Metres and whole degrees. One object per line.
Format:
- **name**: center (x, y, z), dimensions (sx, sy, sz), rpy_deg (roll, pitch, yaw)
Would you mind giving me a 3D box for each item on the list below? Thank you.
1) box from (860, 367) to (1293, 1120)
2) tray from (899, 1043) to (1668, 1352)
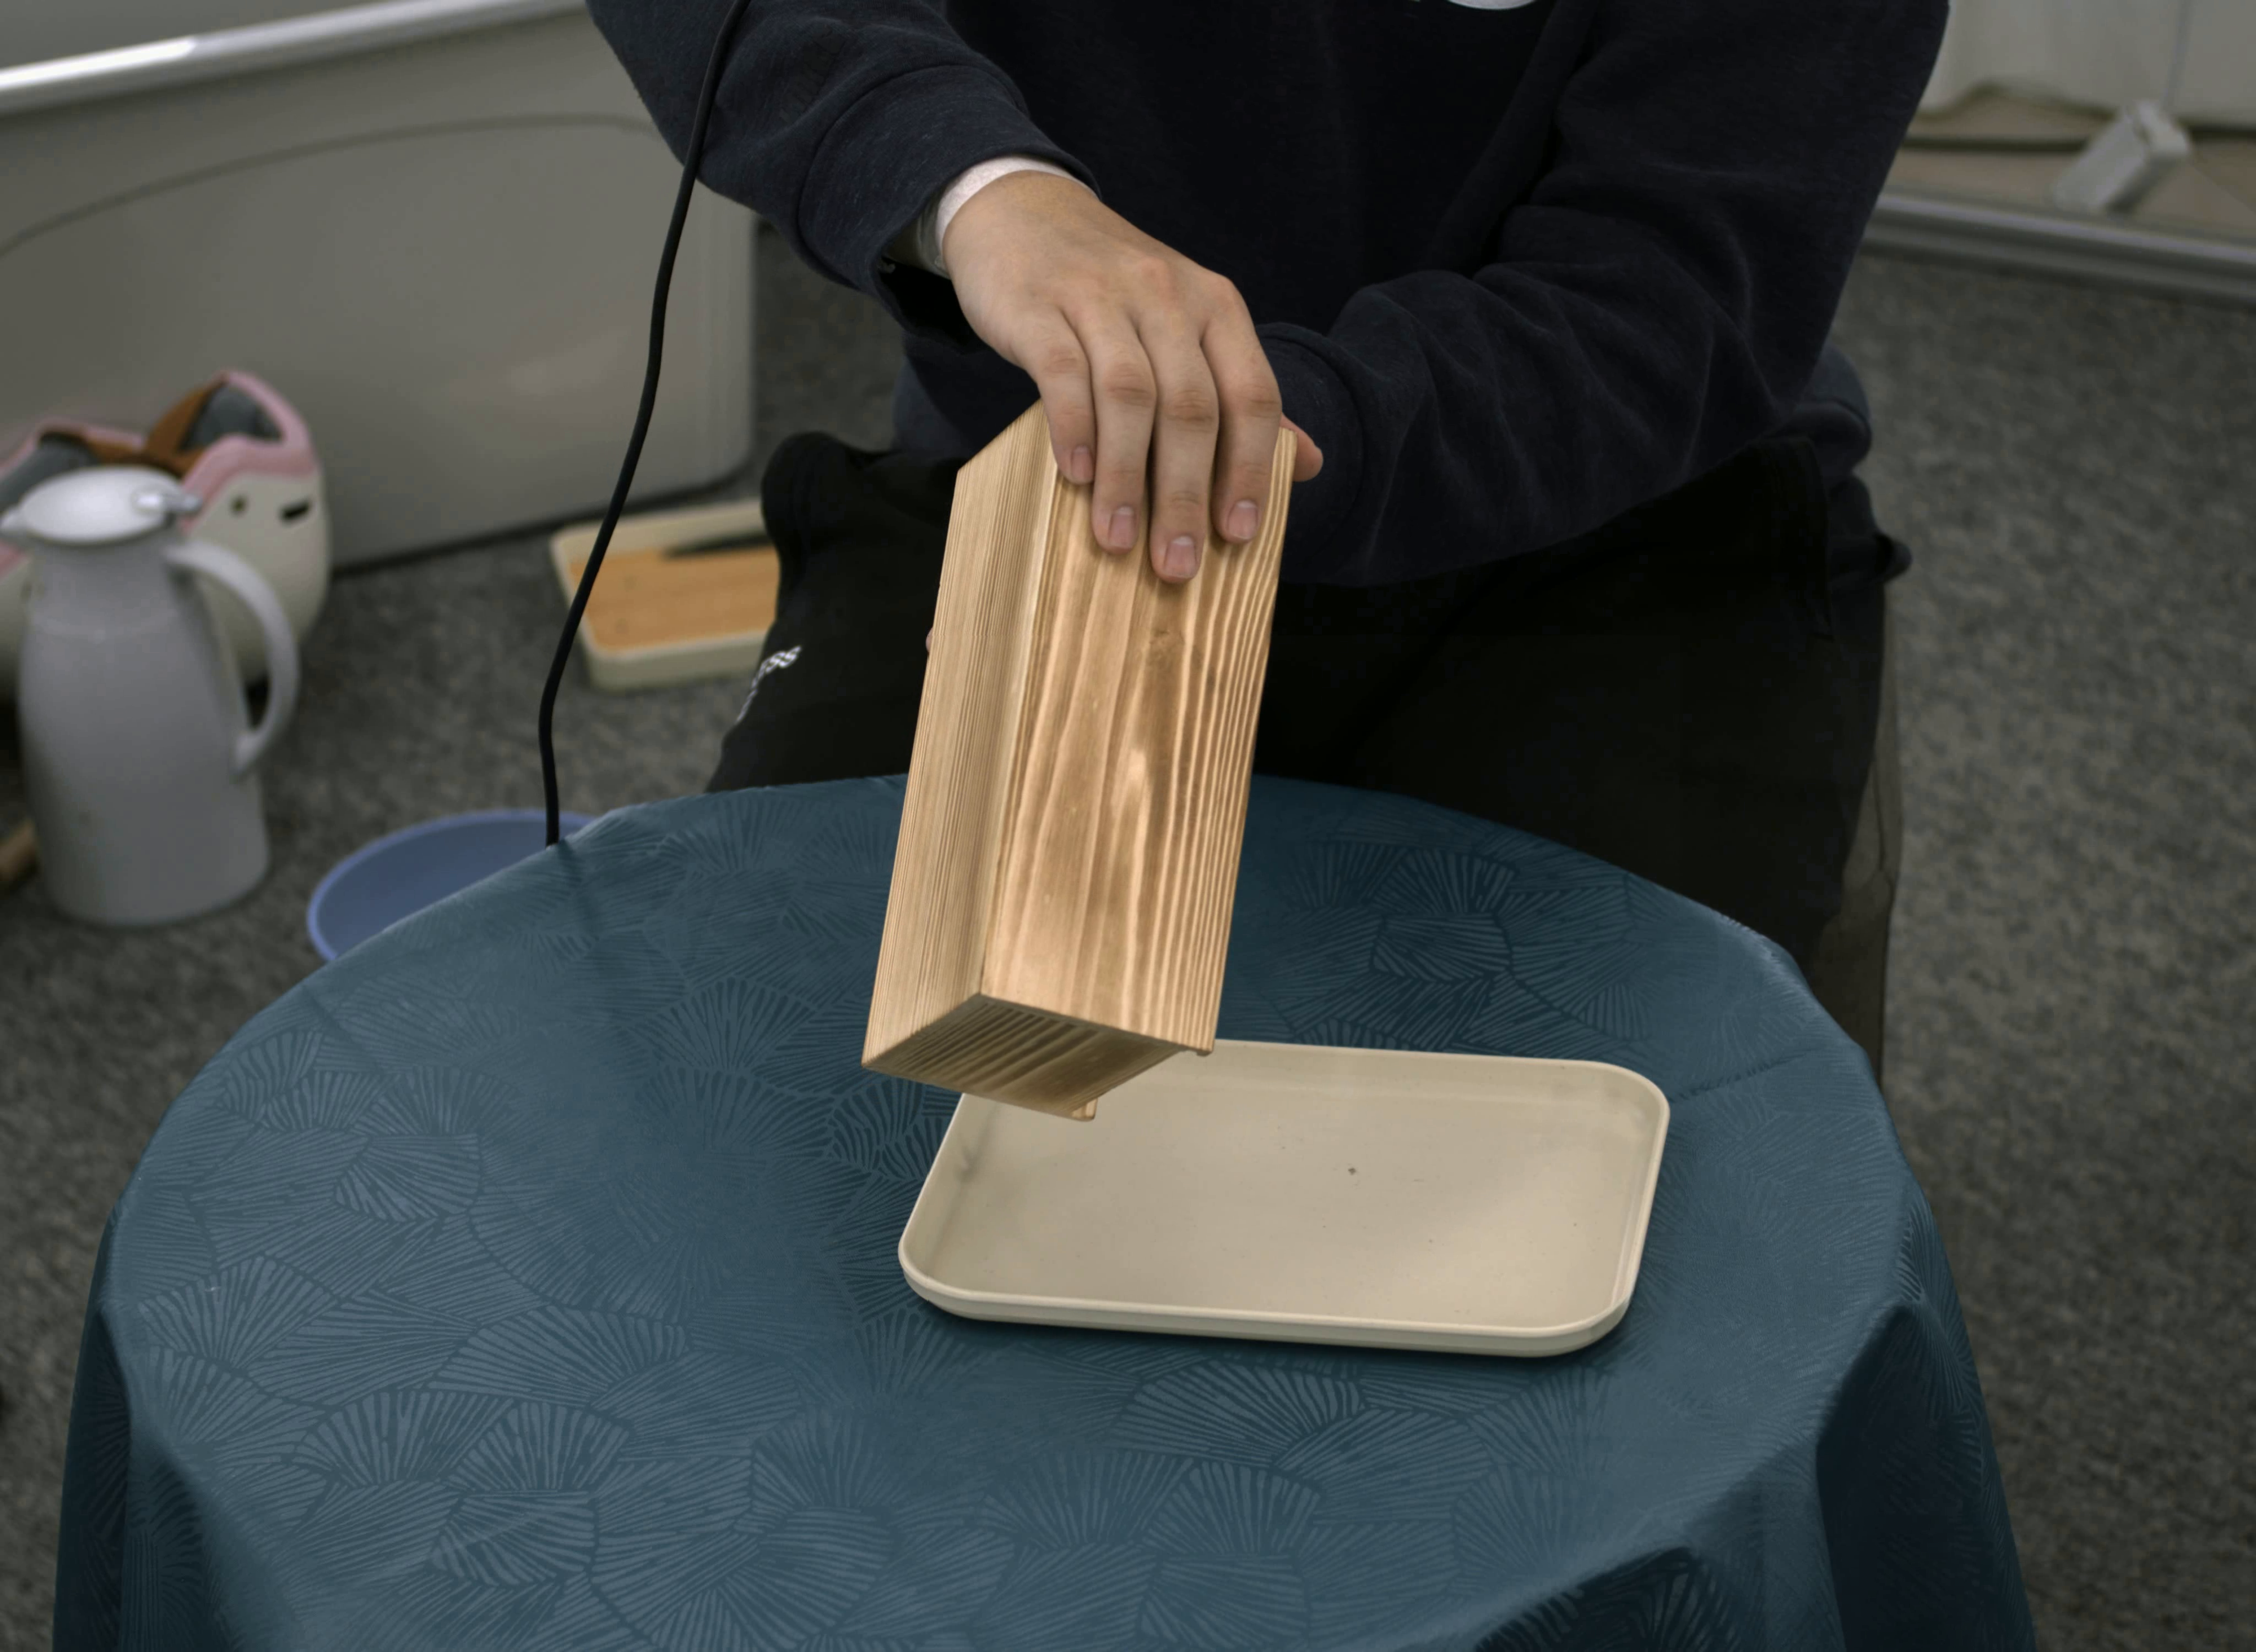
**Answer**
- **box**: center (-0.016, -0.025, 1.803), dimensions (0.080, 0.215, 0.106), rpy_deg (16, -22, -19)
- **tray**: center (0.053, 0.121, 1.843), dimensions (0.238, 0.017, 0.174), rpy_deg (2, 27, 10)
